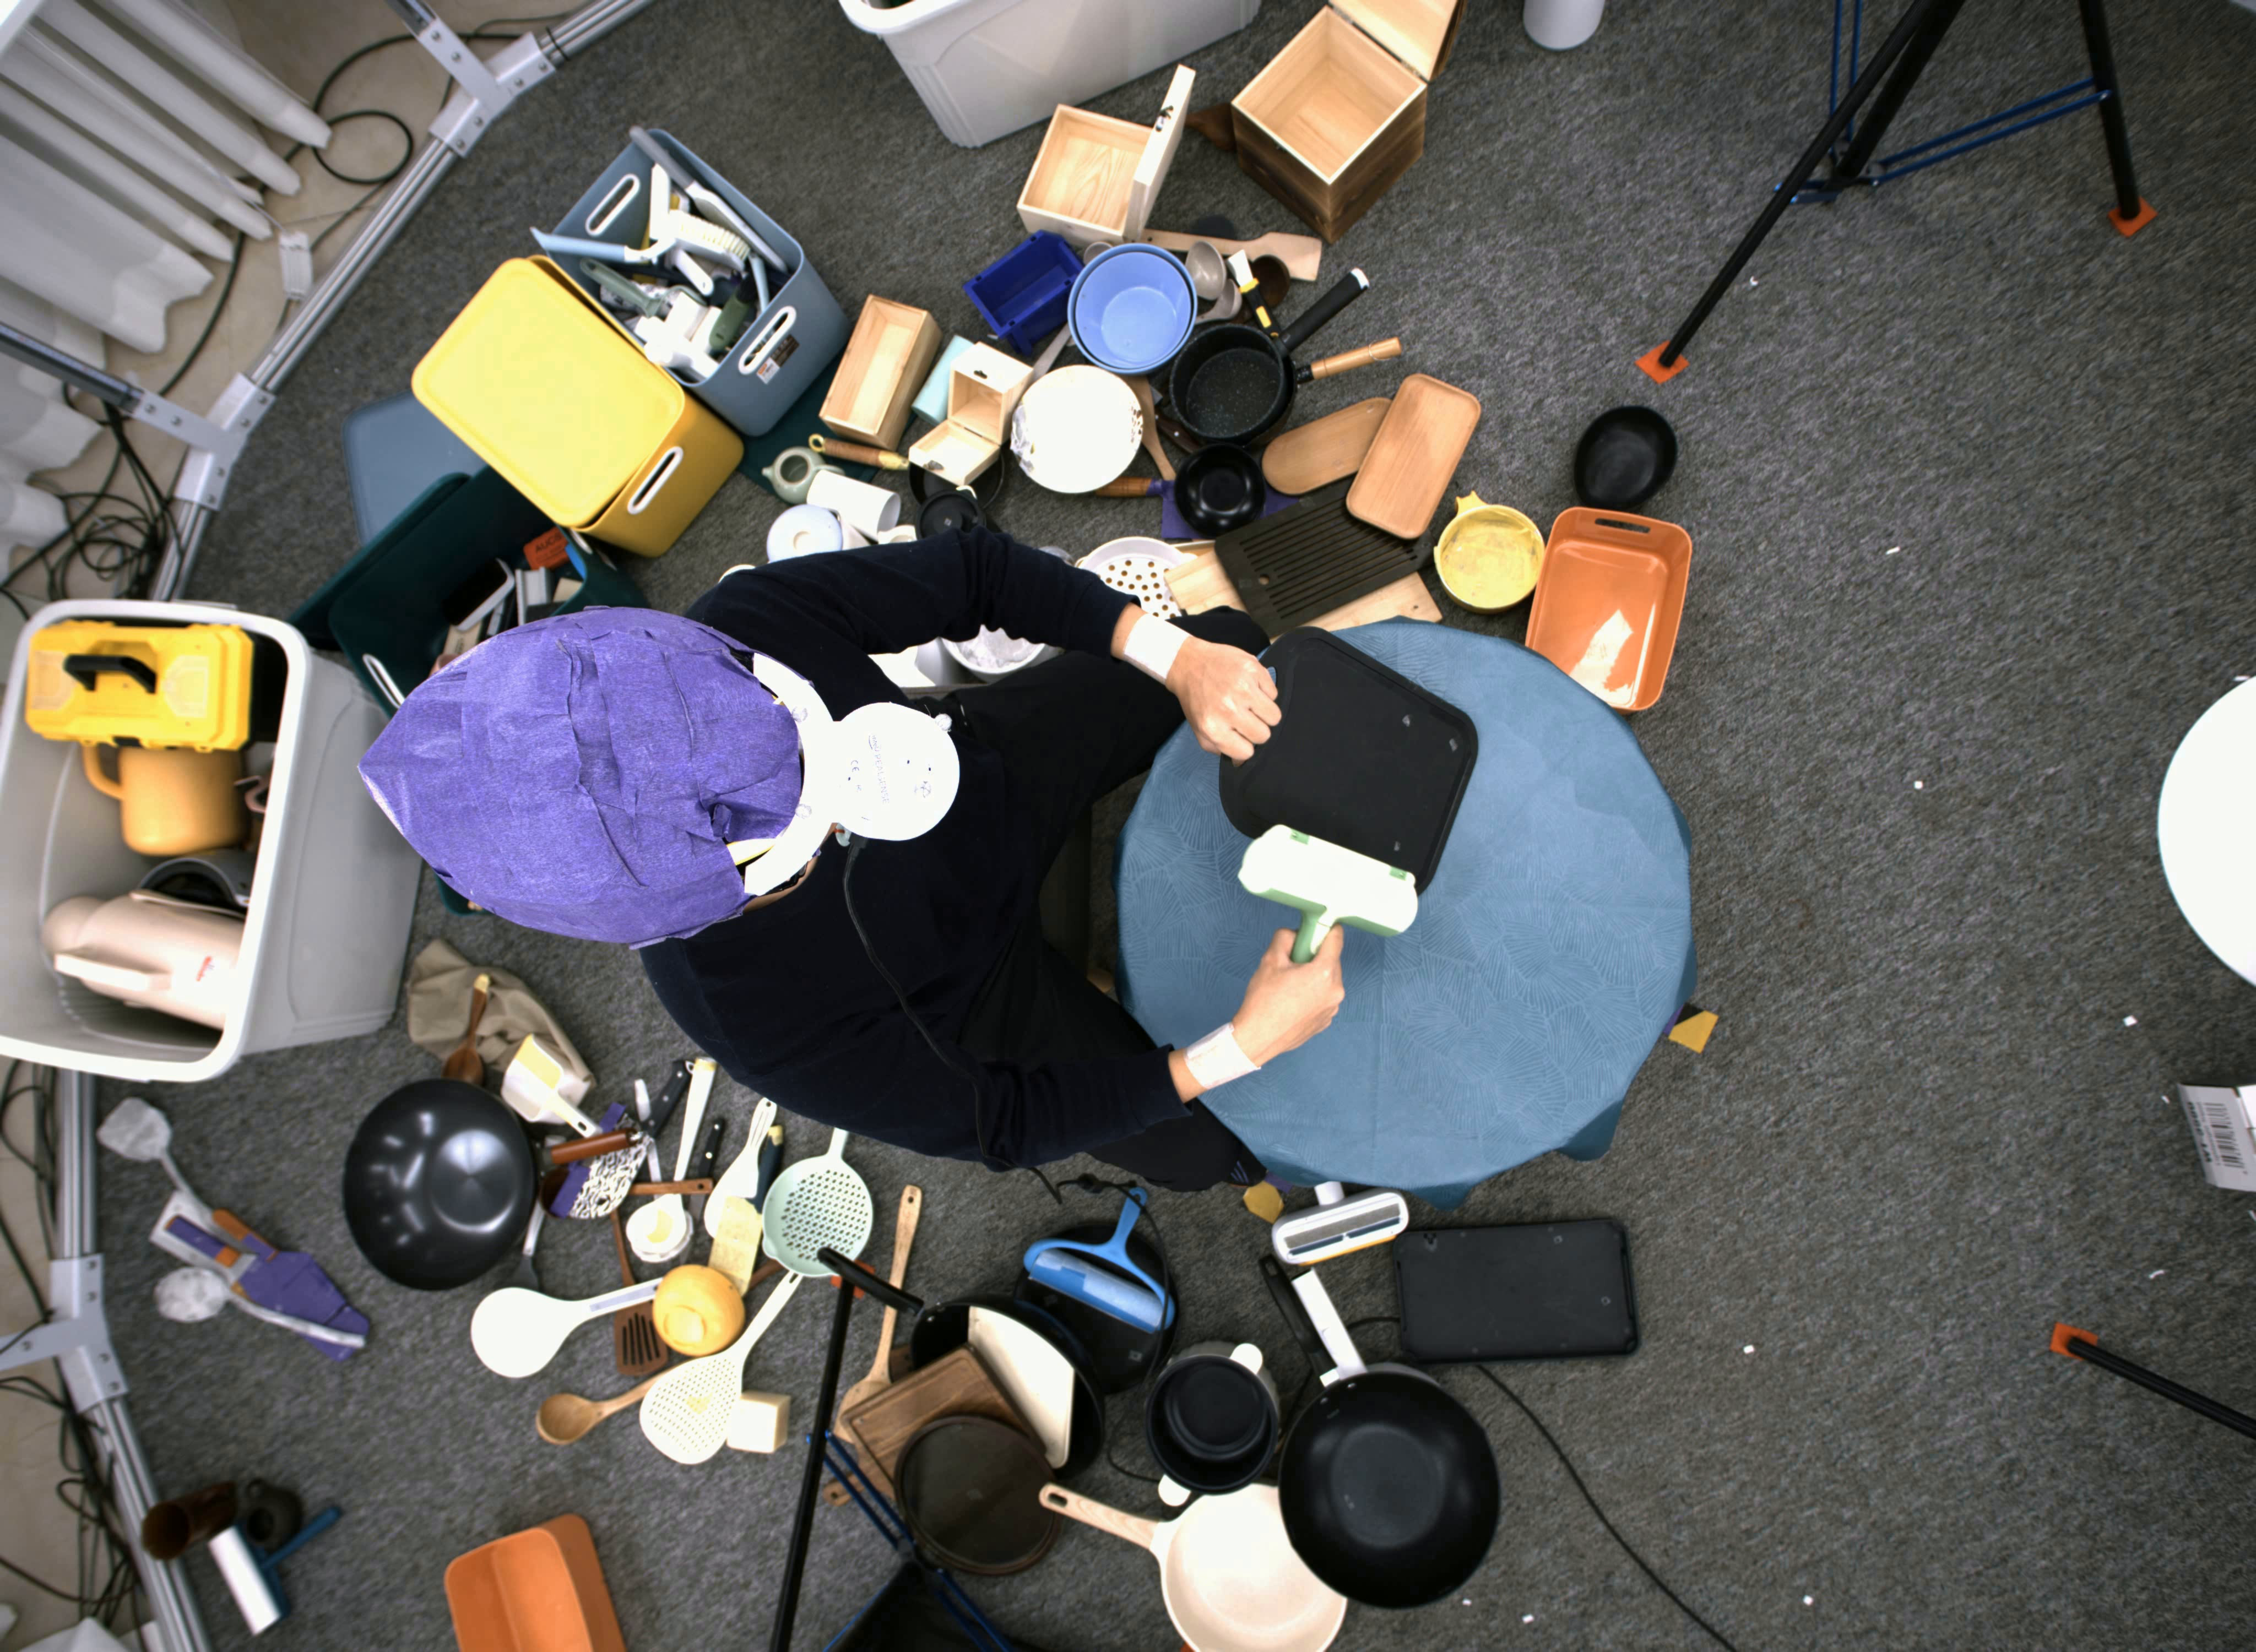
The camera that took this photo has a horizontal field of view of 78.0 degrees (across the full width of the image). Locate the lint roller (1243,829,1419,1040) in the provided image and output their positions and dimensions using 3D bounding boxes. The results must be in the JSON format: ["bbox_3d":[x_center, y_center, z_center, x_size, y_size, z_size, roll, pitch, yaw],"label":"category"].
[{"bbox_3d":[0.185,0.113,1.285,0.082,0.199,0.182,7,82,54],"label":"lint roller"}]

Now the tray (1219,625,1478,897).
[{"bbox_3d":[0.221,-0.059,1.355,0.010,0.326,0.211,21,89,55],"label":"tray"}]
